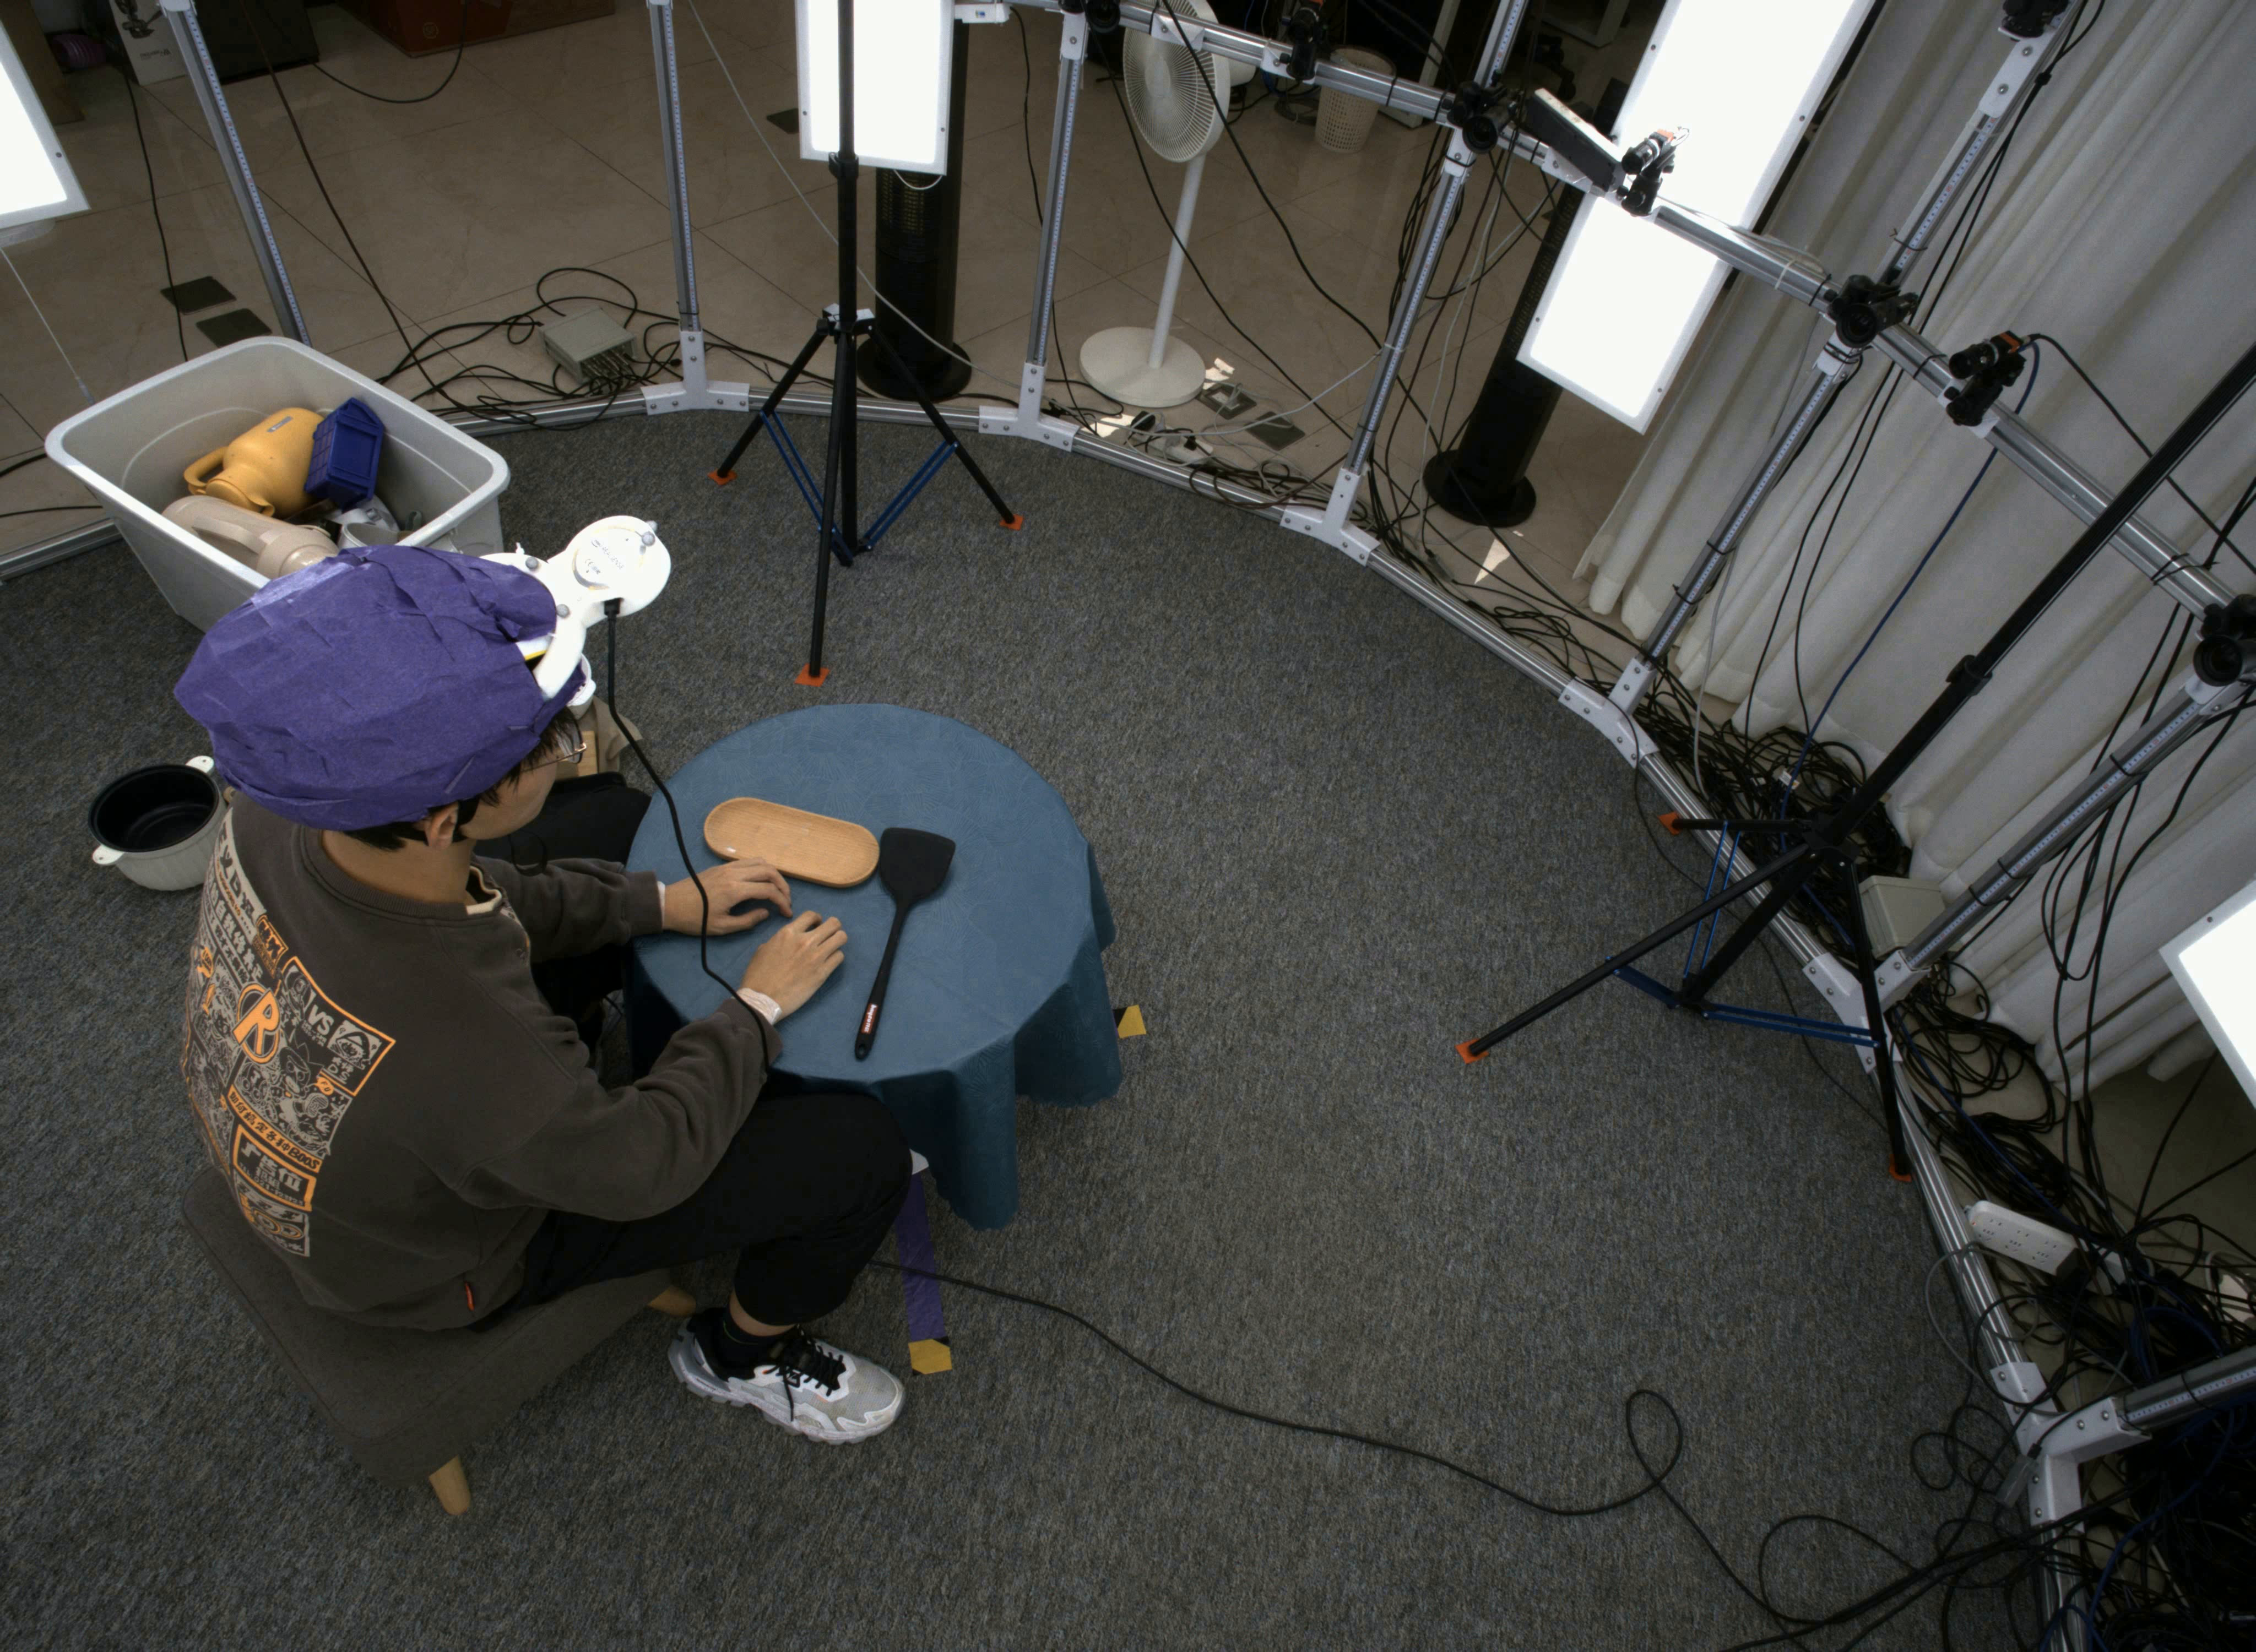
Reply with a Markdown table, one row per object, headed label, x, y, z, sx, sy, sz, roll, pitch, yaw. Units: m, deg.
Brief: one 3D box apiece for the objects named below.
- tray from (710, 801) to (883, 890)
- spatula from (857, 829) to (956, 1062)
| label | x | y | z | sx | sy | sz | roll | pitch | yaw |
| --- | --- | --- | --- | --- | --- | --- | --- | --- | --- |
| tray | -0.437 | 0.024 | 1.708 | 0.230 | 0.021 | 0.100 | 15 | 53 | -4 |
| spatula | -0.296 | 0.144 | 1.641 | 0.099 | 0.041 | 0.321 | 11 | 52 | -3 |
